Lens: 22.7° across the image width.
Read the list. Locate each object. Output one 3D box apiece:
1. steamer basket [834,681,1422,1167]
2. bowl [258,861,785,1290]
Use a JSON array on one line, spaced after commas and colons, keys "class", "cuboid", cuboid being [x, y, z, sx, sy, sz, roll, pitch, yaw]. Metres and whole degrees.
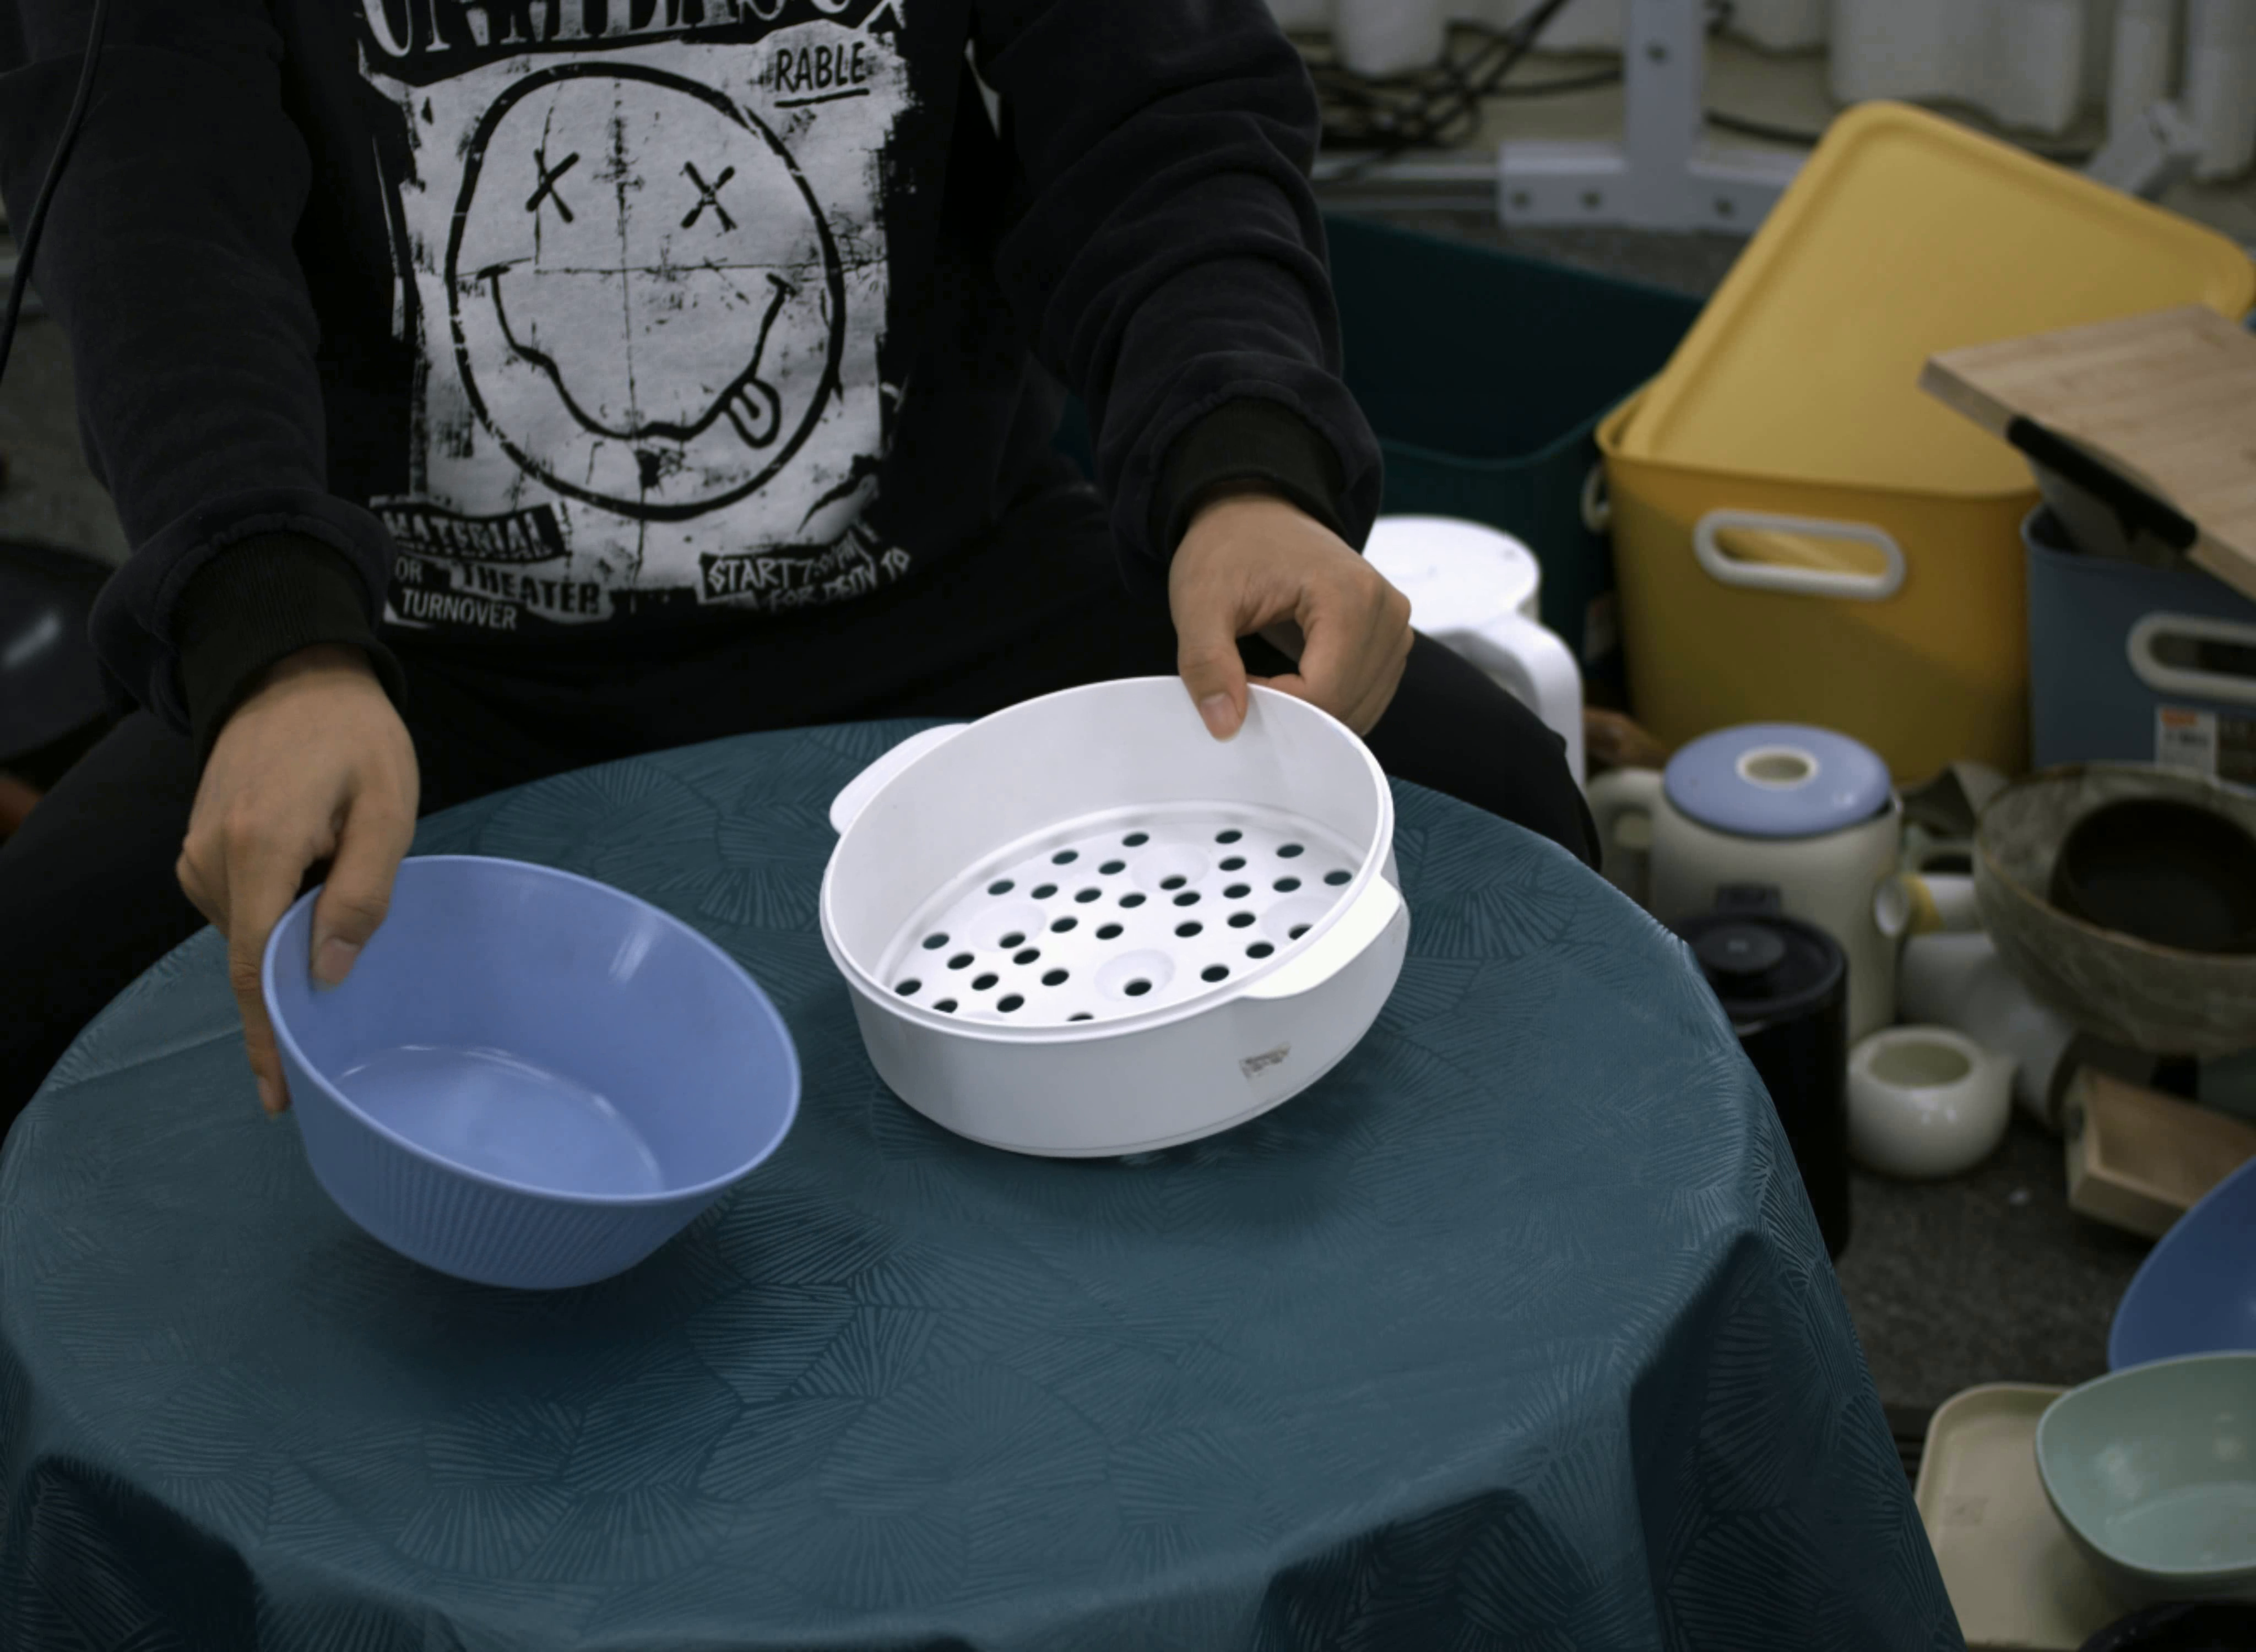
[{"class": "steamer basket", "cuboid": [0.003, 0.034, 1.930, 0.230, 0.068, 0.205, 21, 47, 37]}, {"class": "bowl", "cuboid": [-0.203, 0.089, 1.808, 0.175, 0.069, 0.179, 18, 29, -10]}]
